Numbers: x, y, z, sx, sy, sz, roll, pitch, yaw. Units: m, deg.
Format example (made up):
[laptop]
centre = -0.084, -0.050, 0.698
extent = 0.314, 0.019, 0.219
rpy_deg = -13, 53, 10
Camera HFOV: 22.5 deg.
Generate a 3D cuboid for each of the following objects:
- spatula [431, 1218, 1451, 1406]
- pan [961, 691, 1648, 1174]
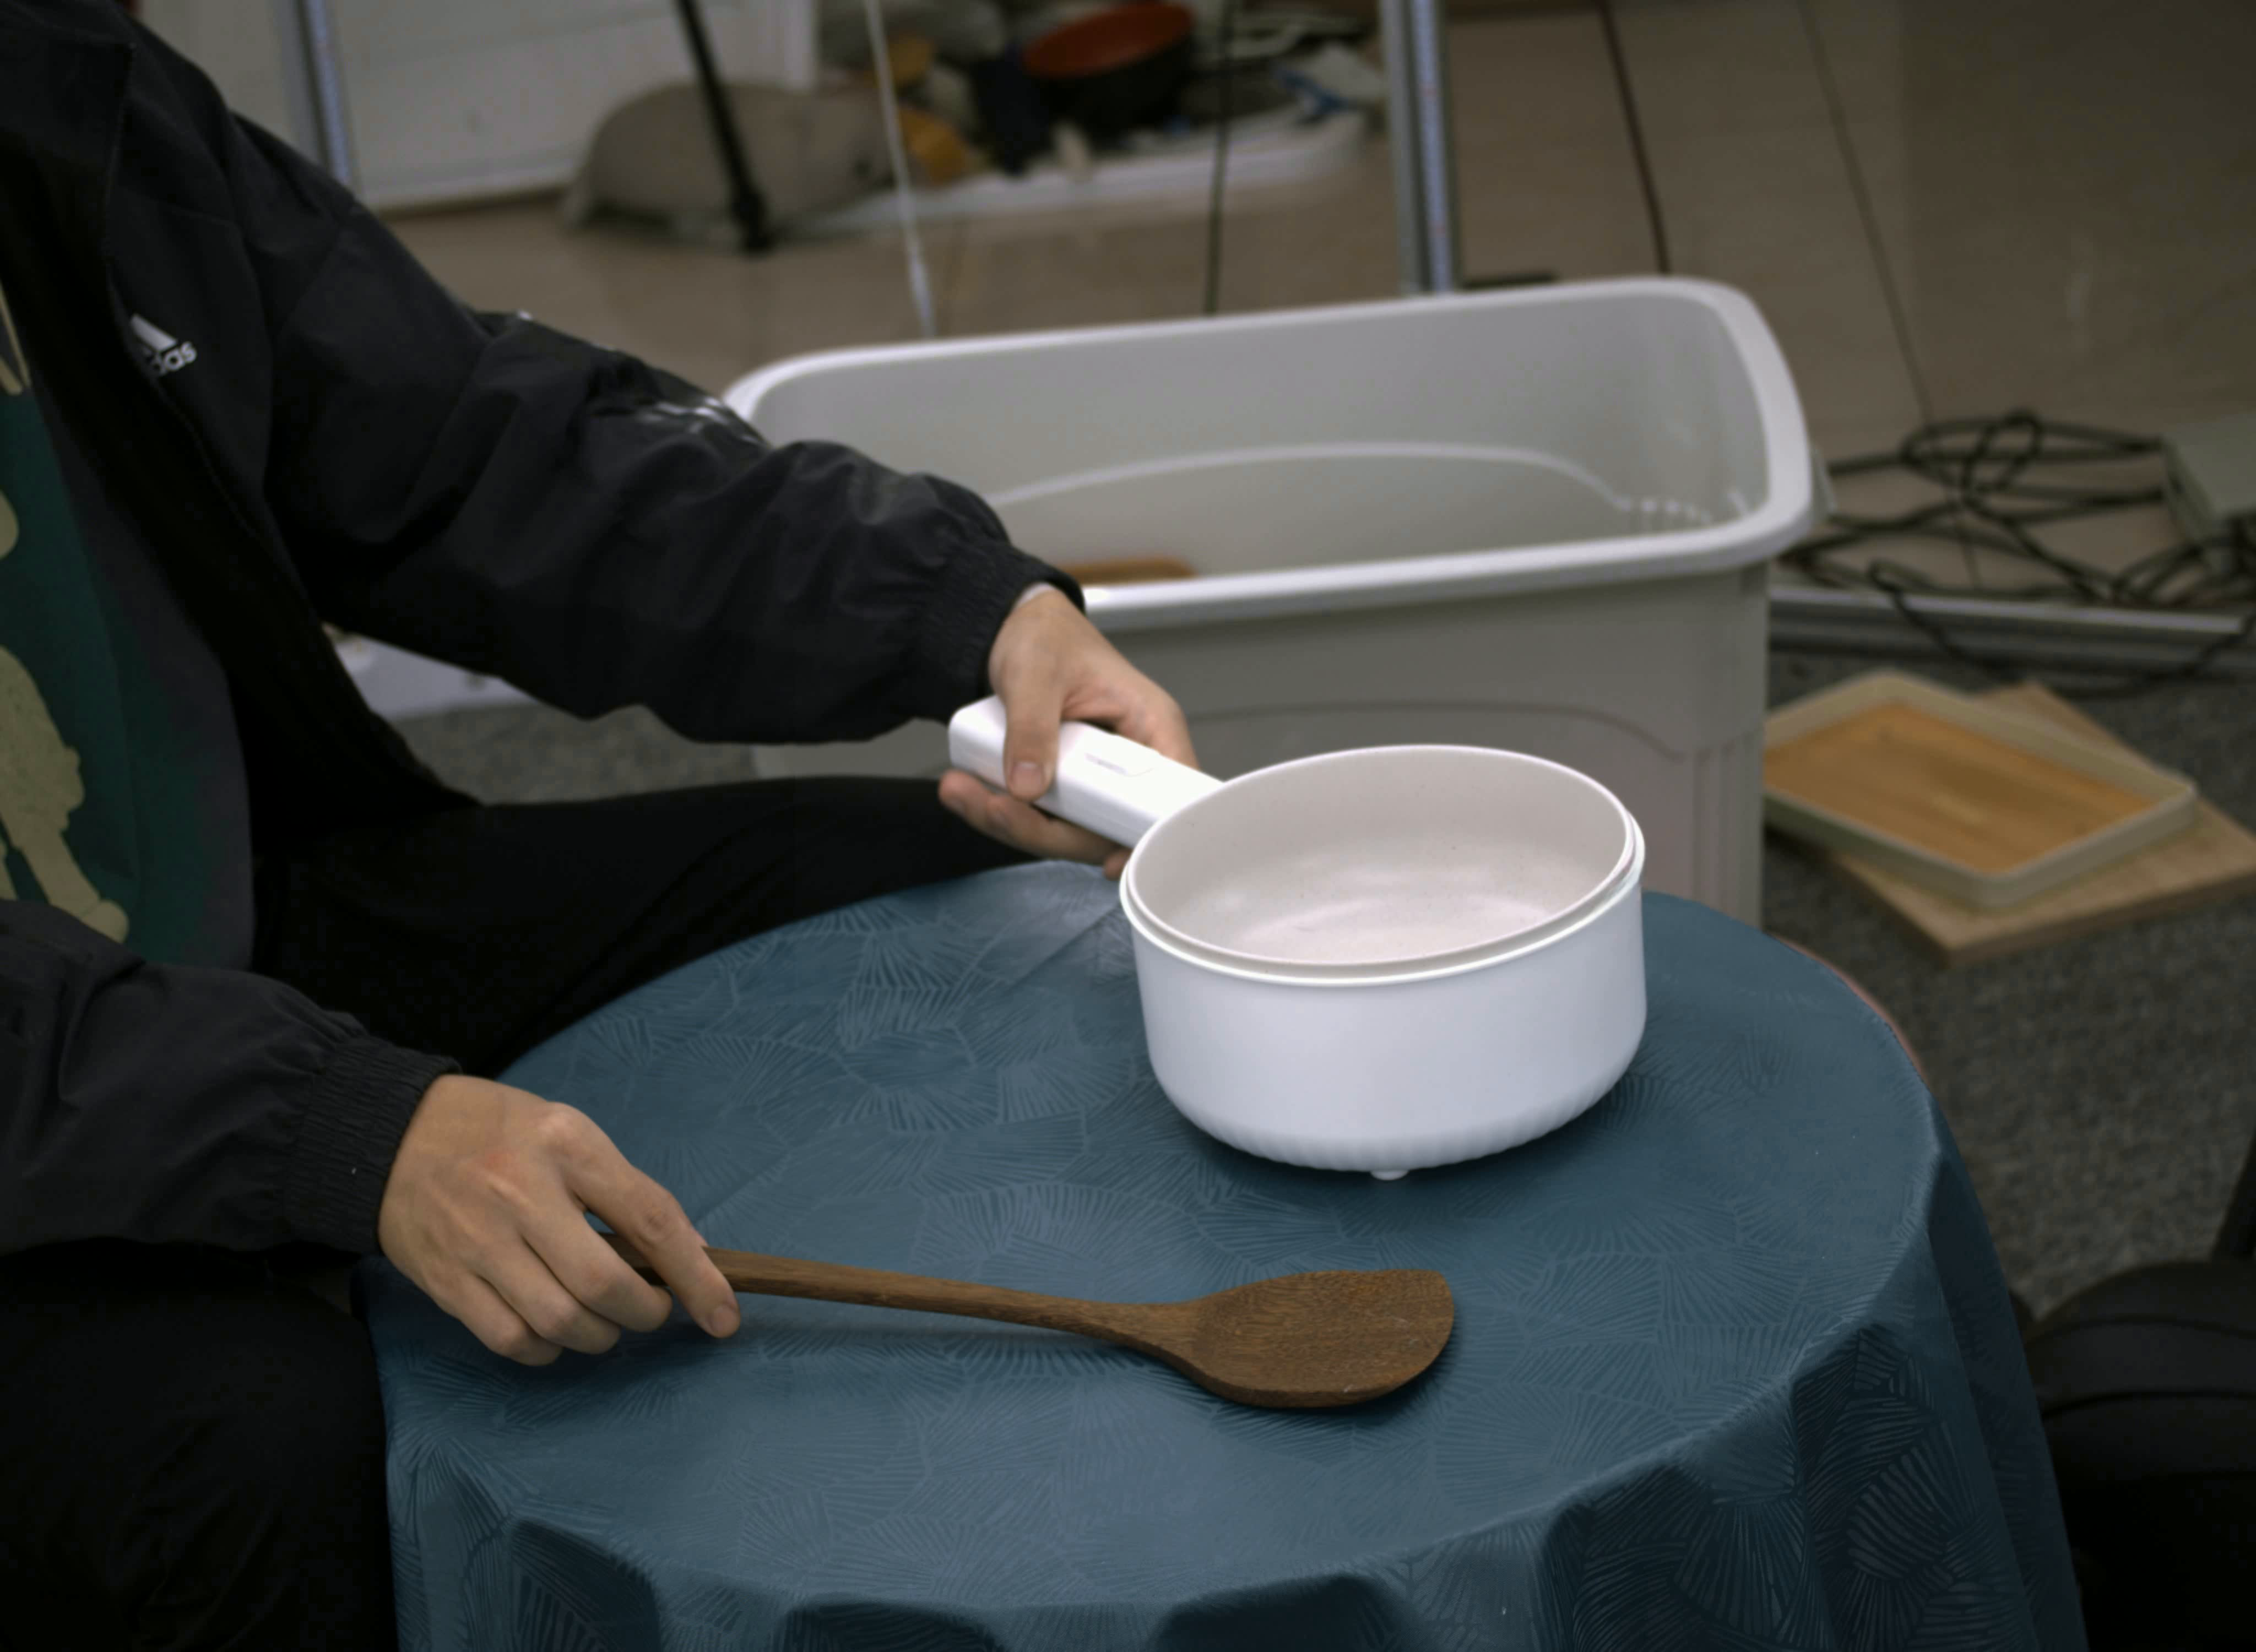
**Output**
[spatula]
centre = -0.073, 0.170, 2.059
extent = 0.385, 0.016, 0.095
rpy_deg = 5, 25, 14
[pan]
centre = 0.055, 0.034, 2.239
extent = 0.200, 0.103, 0.352
rpy_deg = -24, 28, -32
